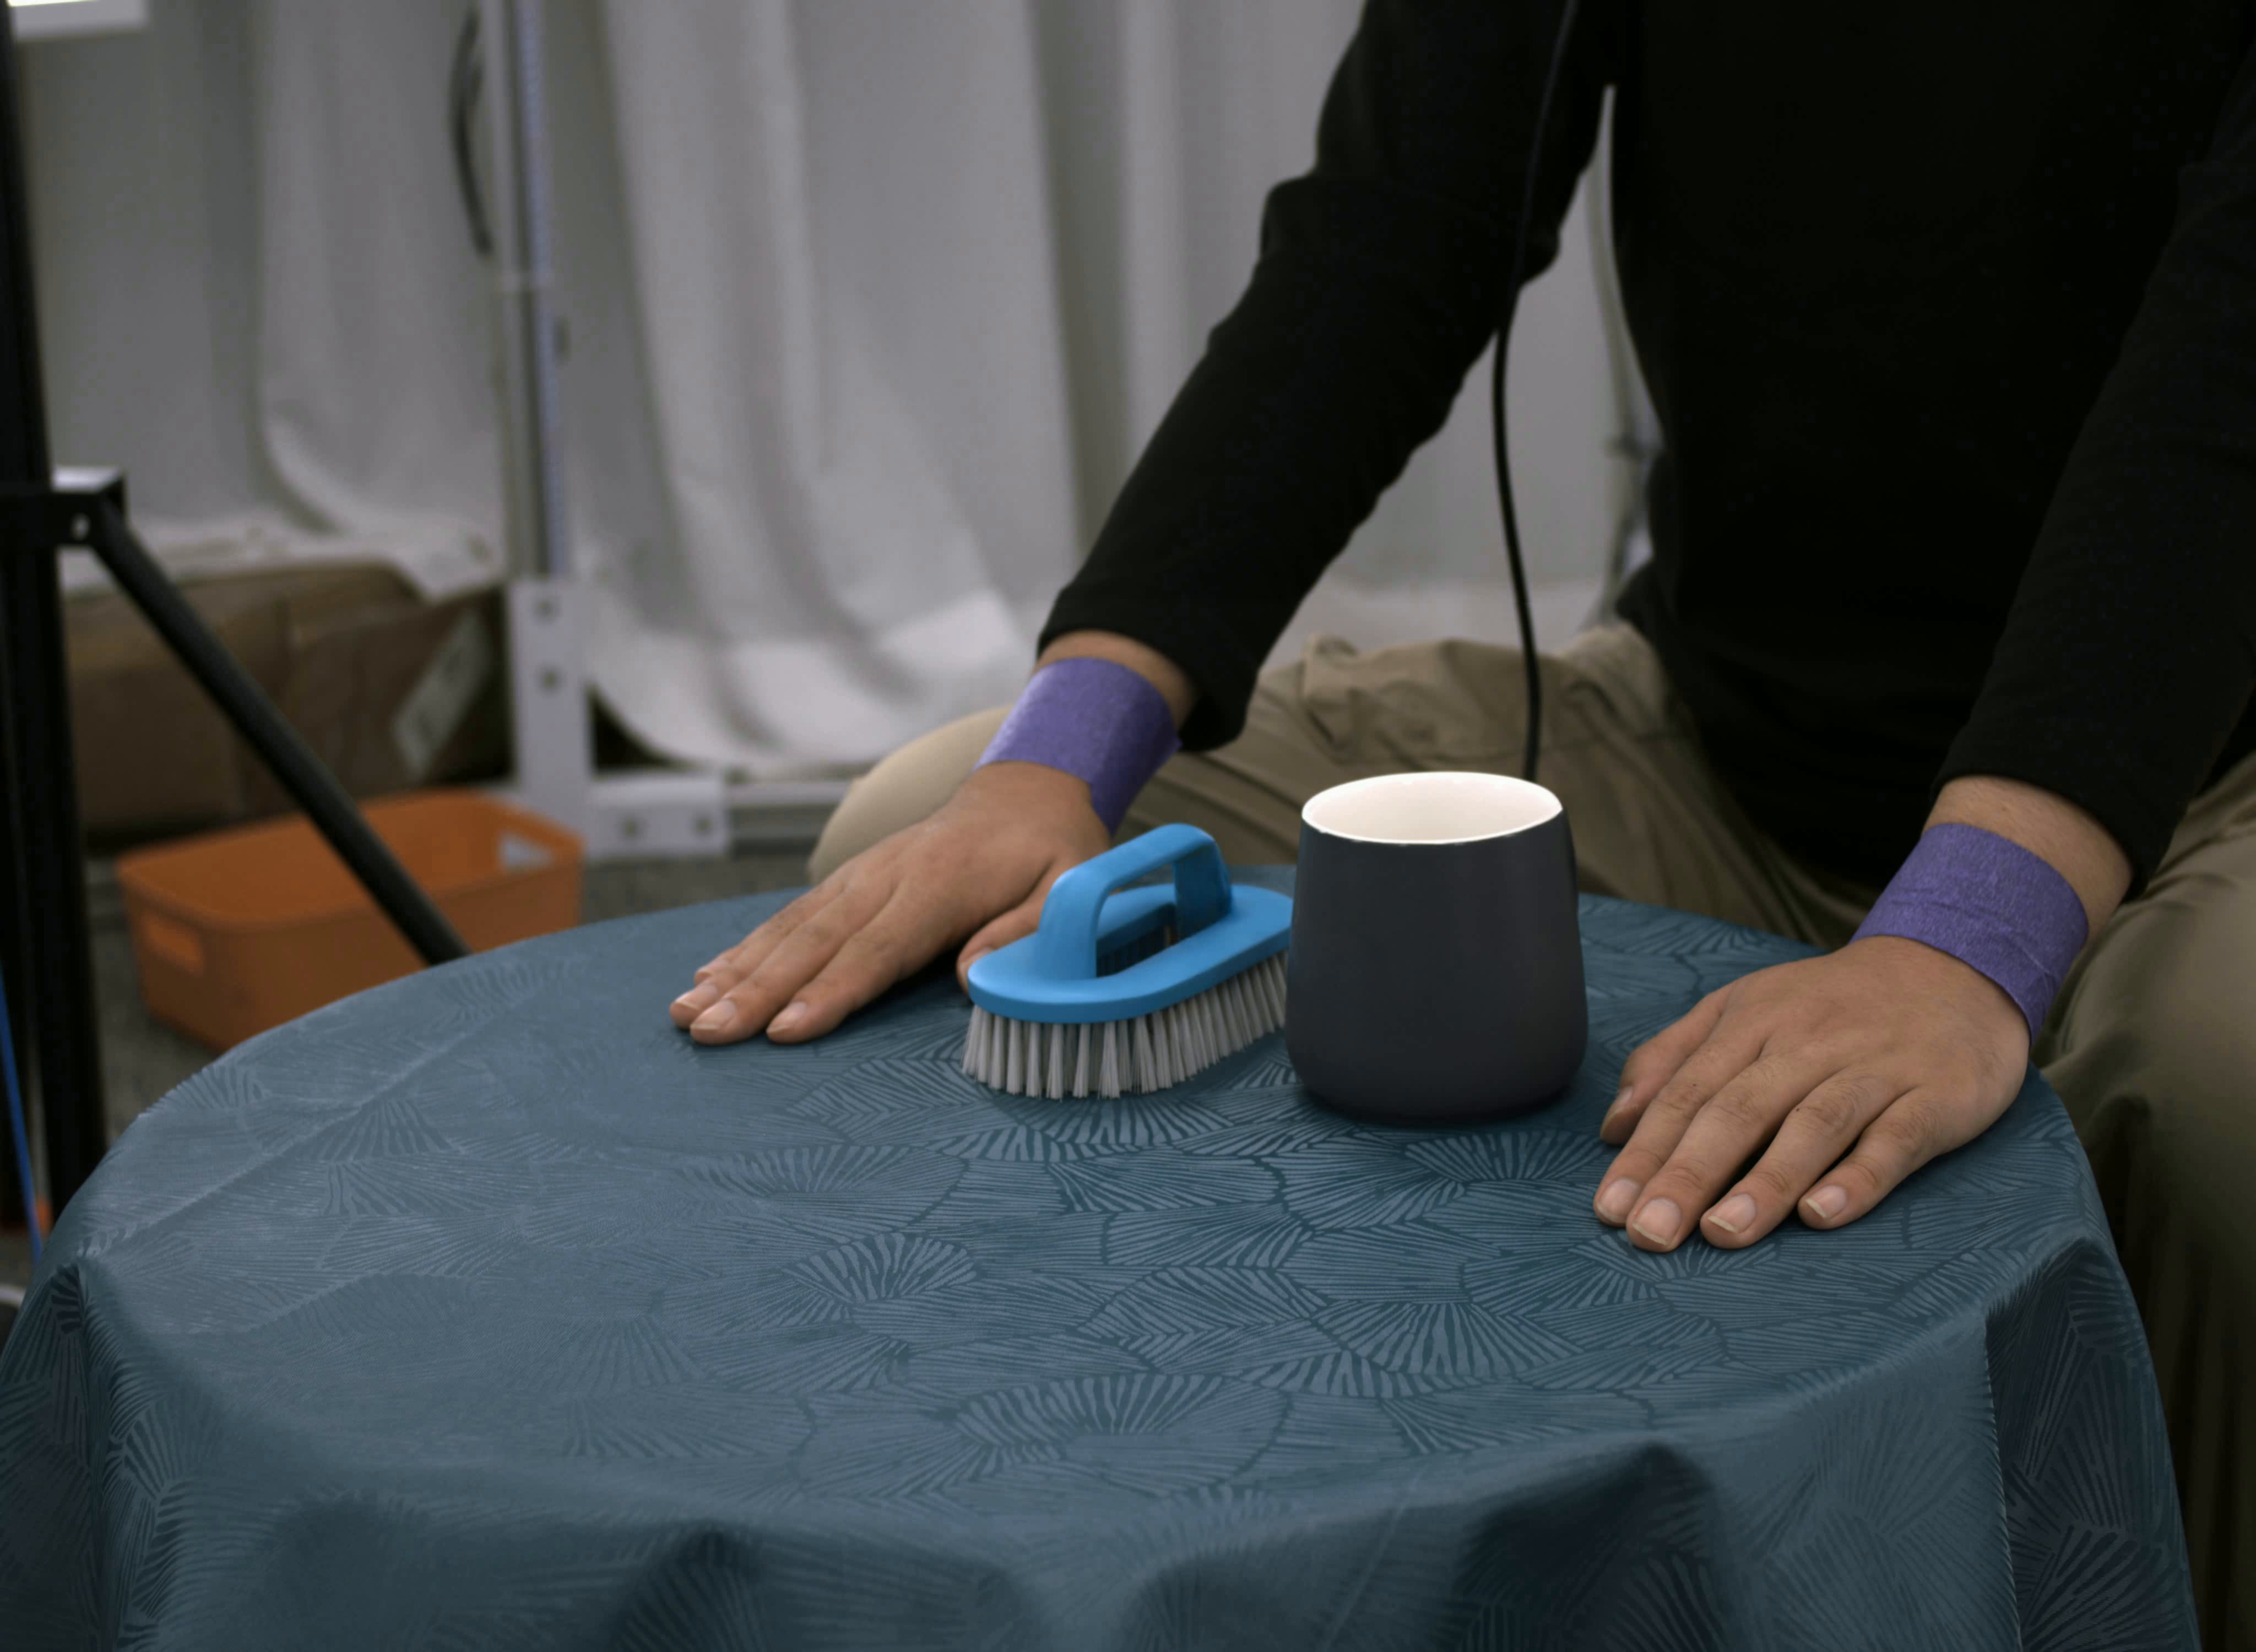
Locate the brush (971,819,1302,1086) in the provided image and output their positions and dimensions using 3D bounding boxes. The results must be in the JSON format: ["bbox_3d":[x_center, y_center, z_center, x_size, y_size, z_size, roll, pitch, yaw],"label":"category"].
[{"bbox_3d":[0.005,0.035,1.694,0.086,0.064,0.139,3,15,35],"label":"brush"}]

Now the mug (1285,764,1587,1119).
[{"bbox_3d":[0.103,0.032,1.638,0.095,0.090,0.121,11,22,37],"label":"mug"}]
